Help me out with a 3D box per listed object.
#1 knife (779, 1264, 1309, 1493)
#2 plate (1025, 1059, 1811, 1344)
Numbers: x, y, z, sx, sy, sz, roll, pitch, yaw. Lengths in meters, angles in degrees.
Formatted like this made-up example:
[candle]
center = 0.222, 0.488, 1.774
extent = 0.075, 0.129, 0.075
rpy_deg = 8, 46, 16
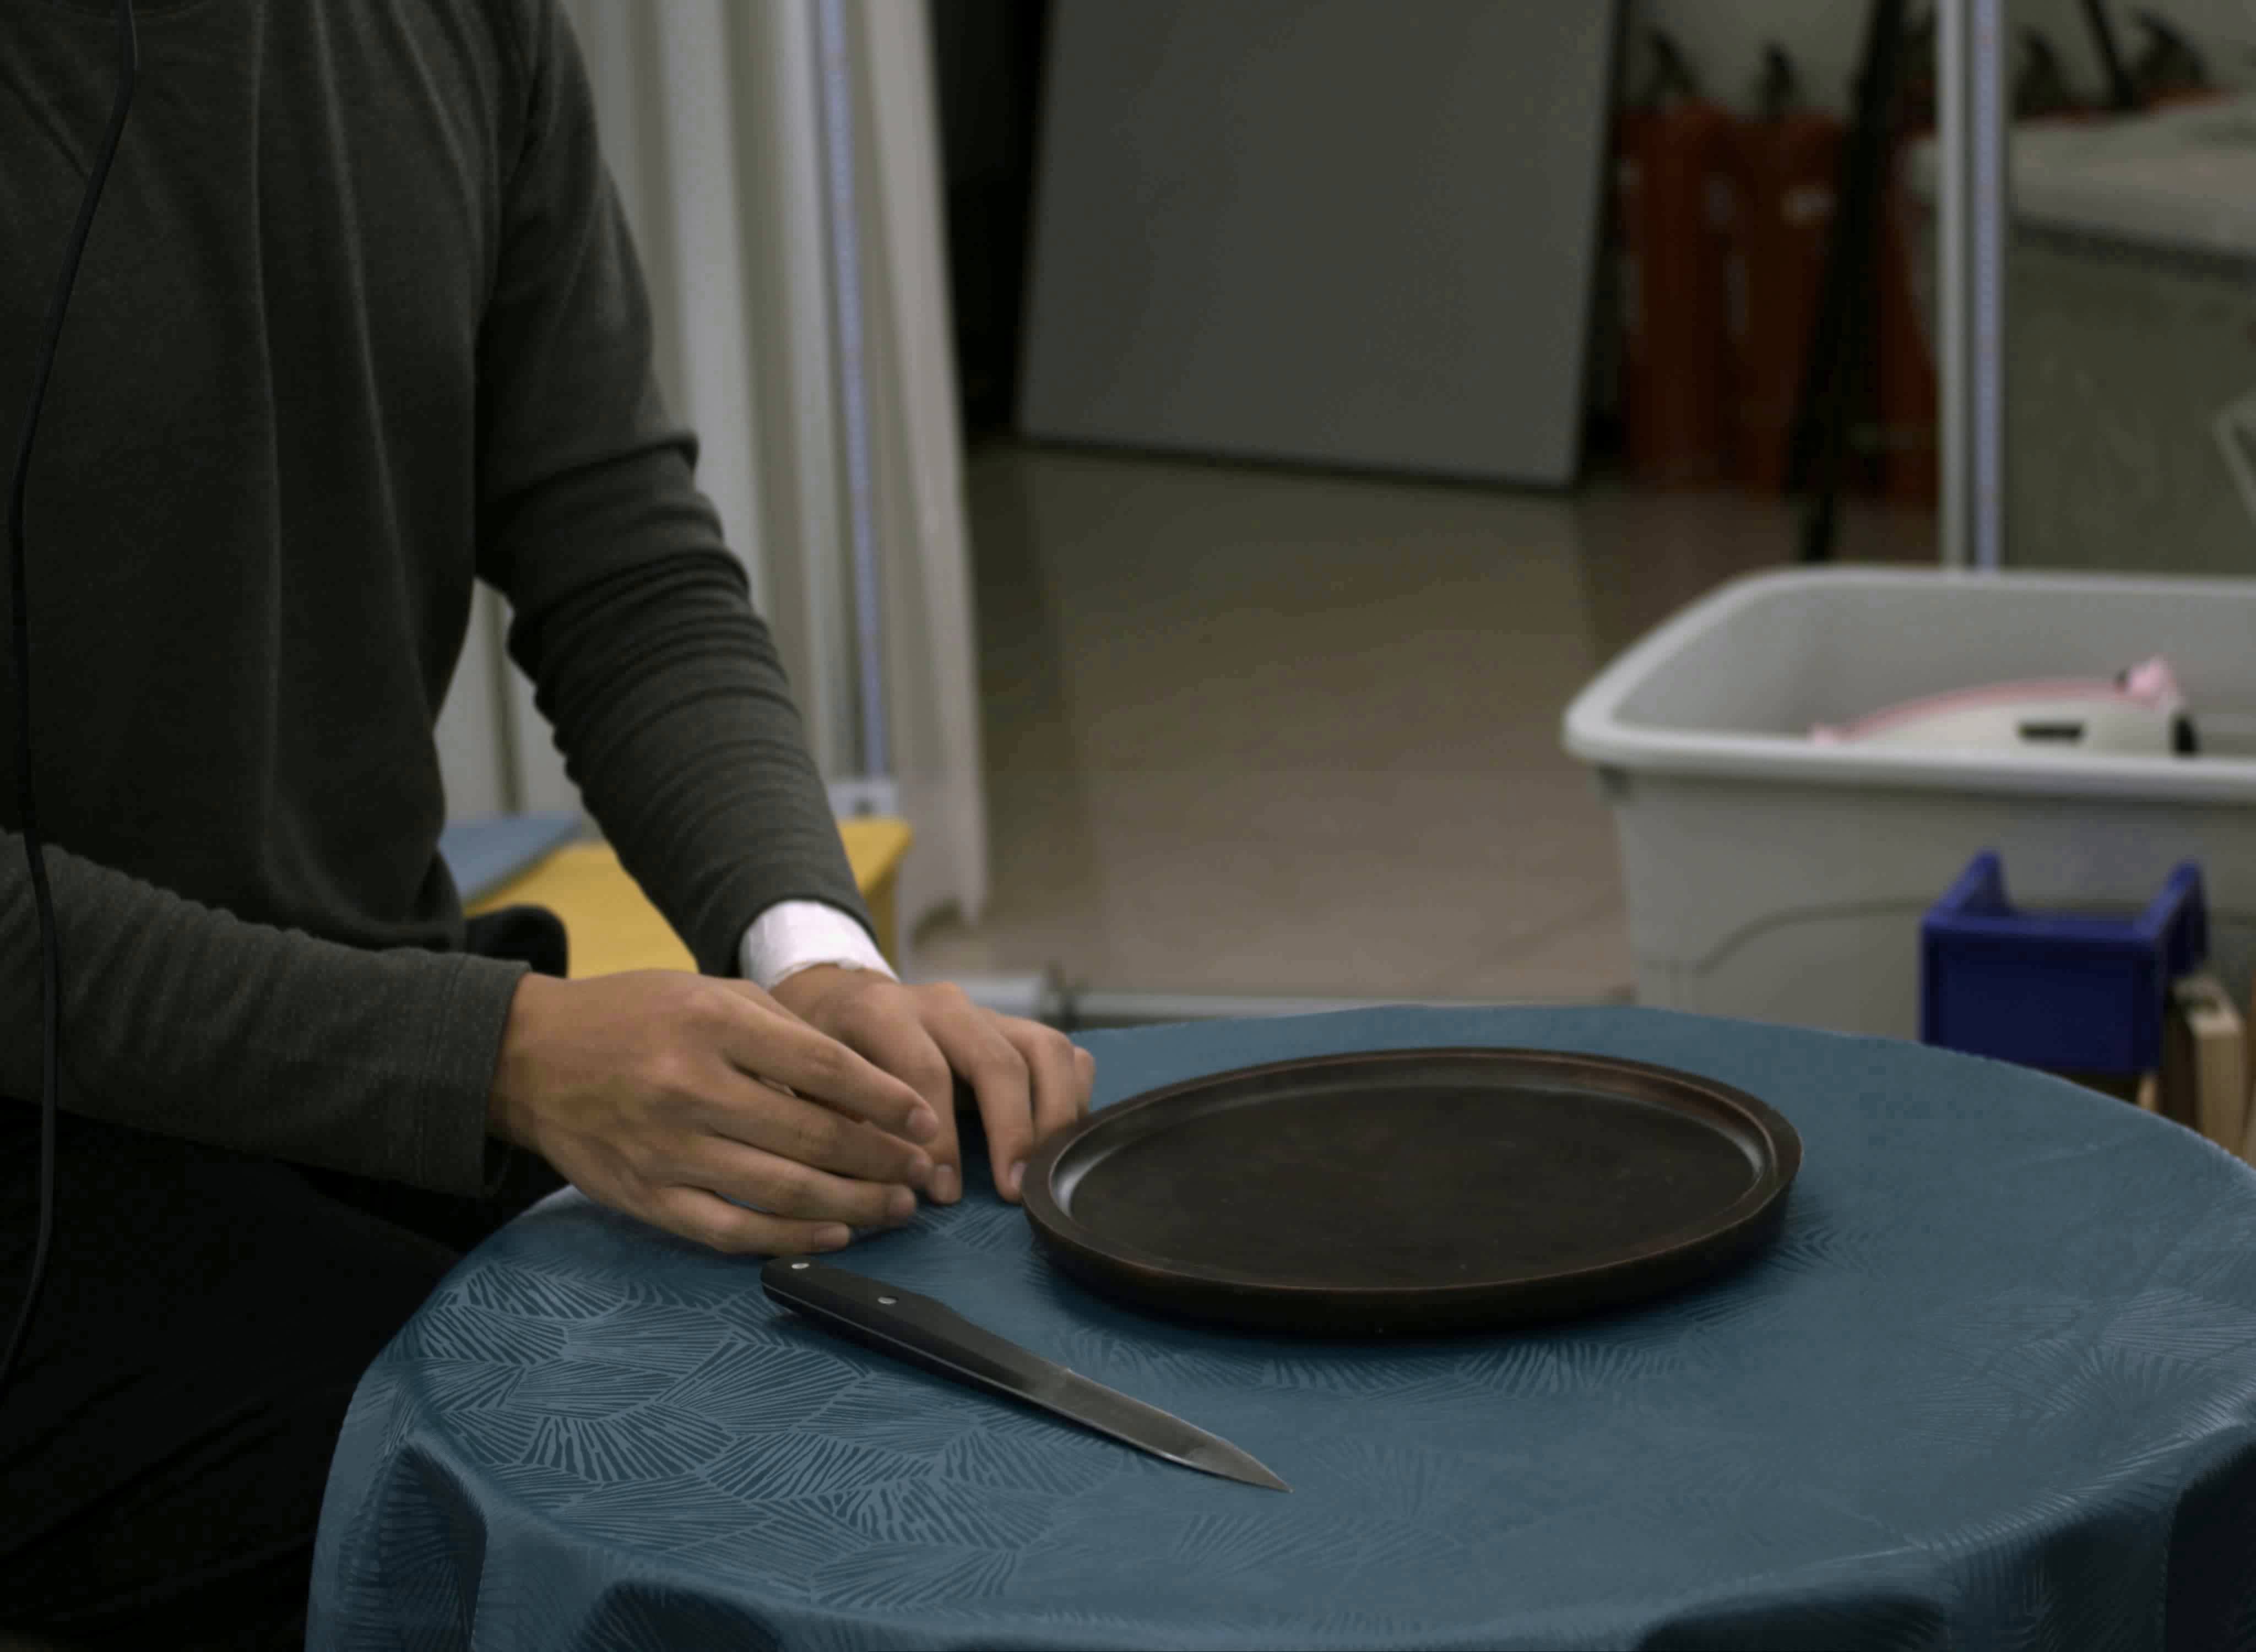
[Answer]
[knife]
center = -0.029, 0.164, 1.585
extent = 0.024, 0.016, 0.240
rpy_deg = -11, 17, -39
[plate]
center = 0.092, 0.117, 1.718
extent = 0.251, 0.029, 0.255
rpy_deg = -3, 14, 0
